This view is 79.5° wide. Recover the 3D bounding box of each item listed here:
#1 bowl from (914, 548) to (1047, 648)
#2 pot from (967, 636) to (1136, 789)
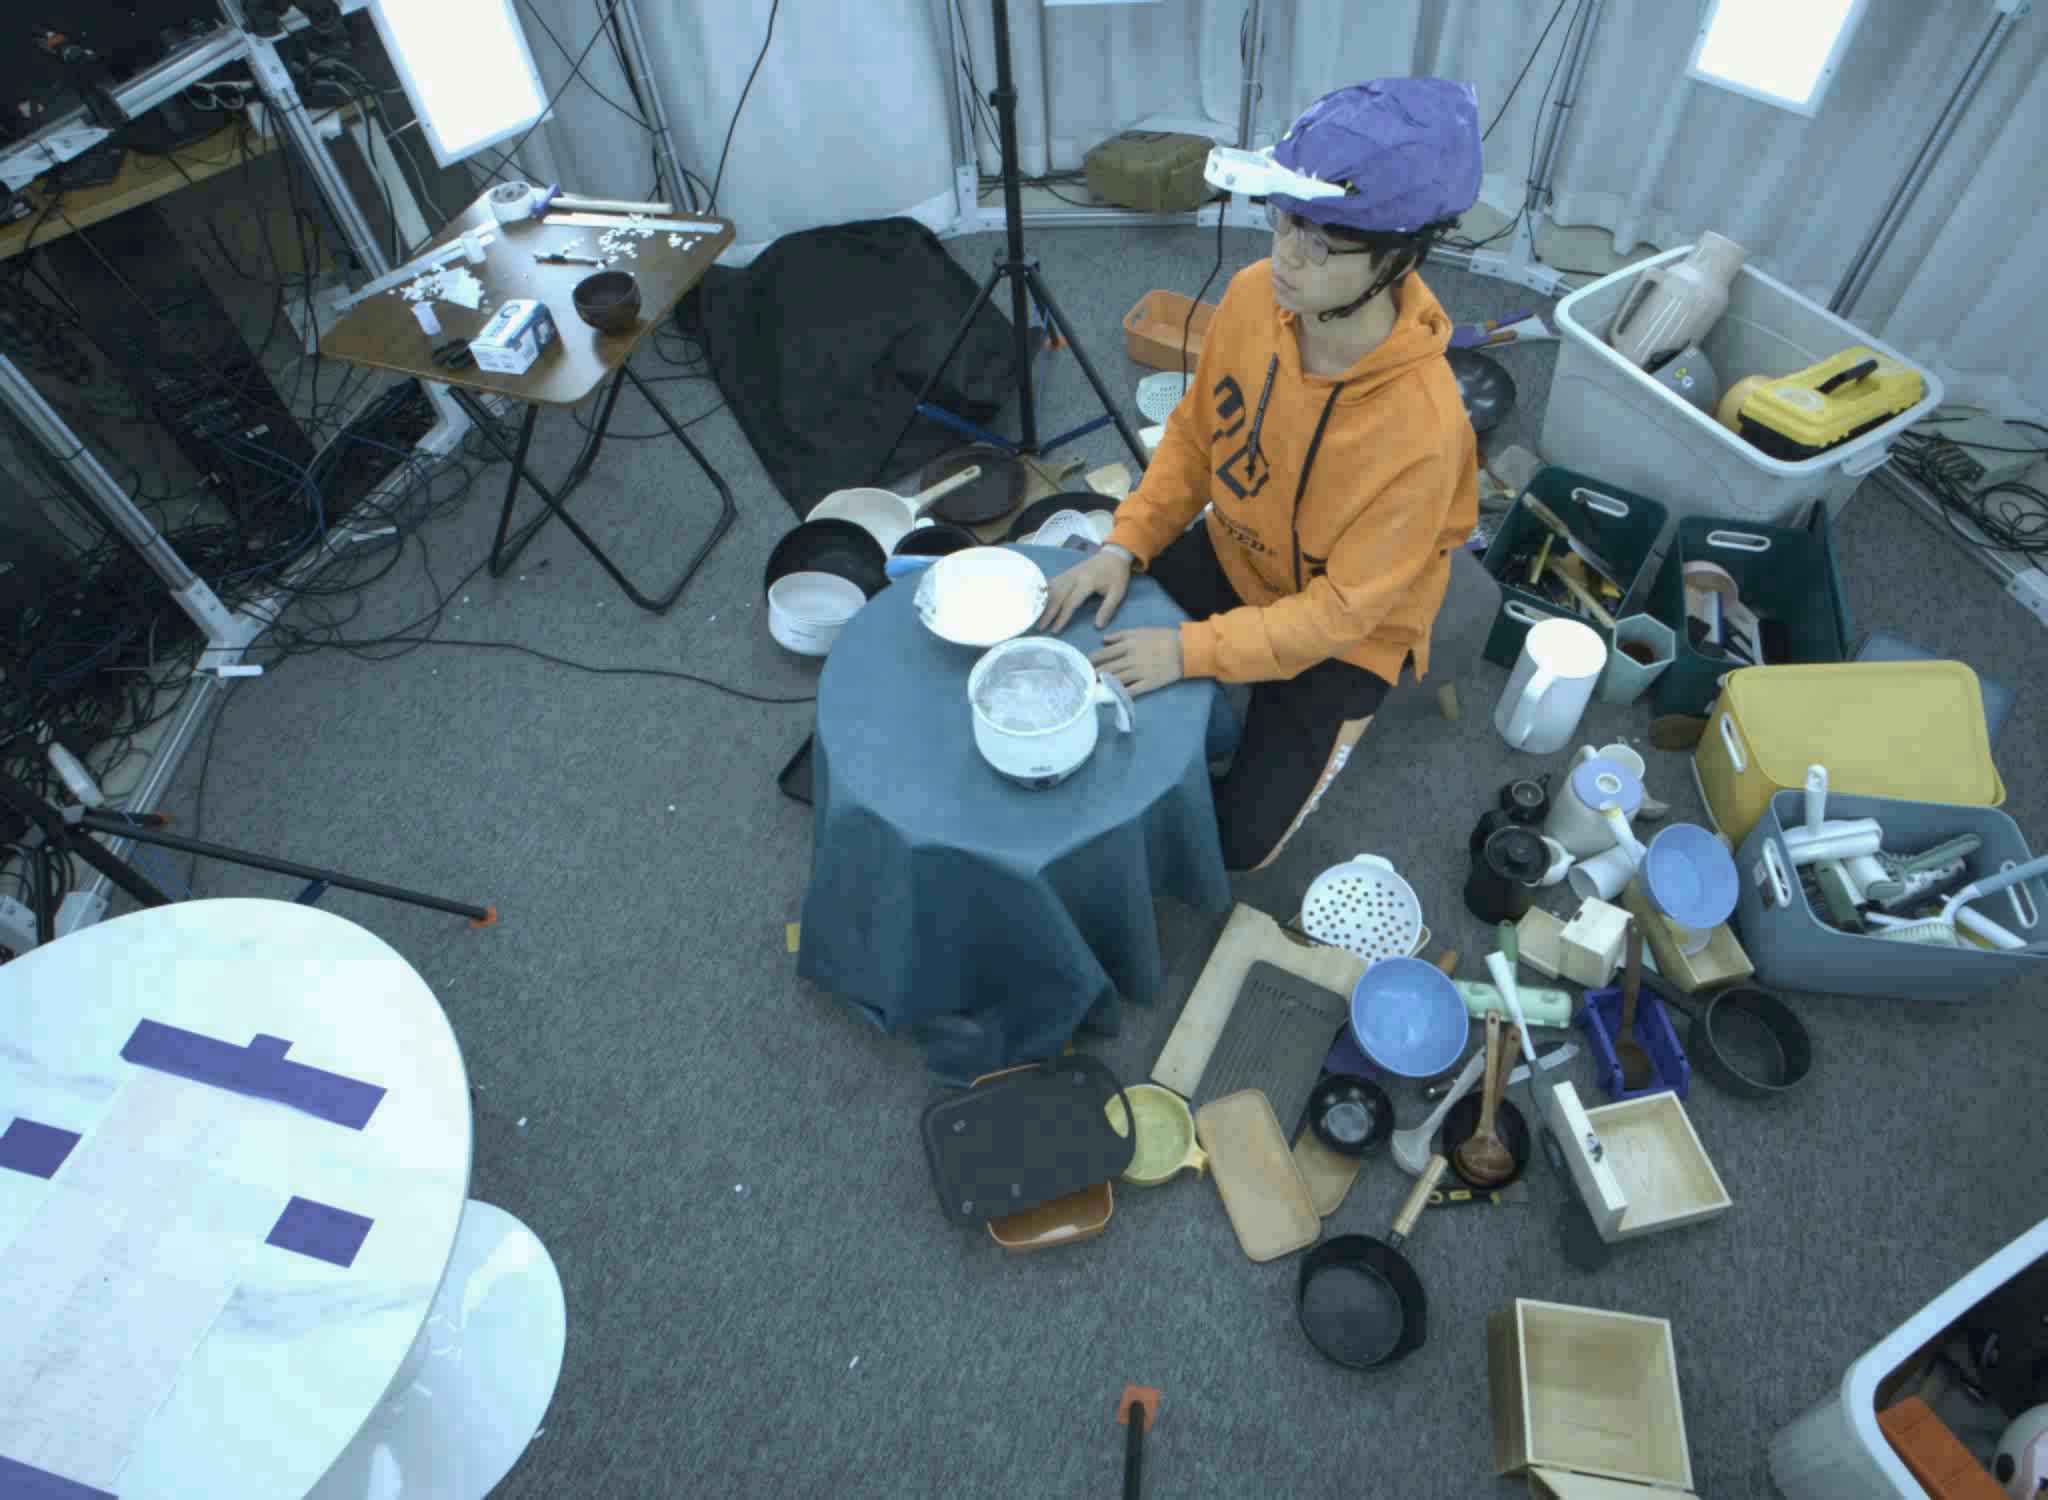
[{"bbox_3d":[-0.066,-0.215,1.896,0.204,0.079,0.202,1,53,1],"label":"bowl"},{"bbox_3d":[0.041,-0.056,1.740,0.234,0.138,0.176,-8,55,-2],"label":"pot"}]
